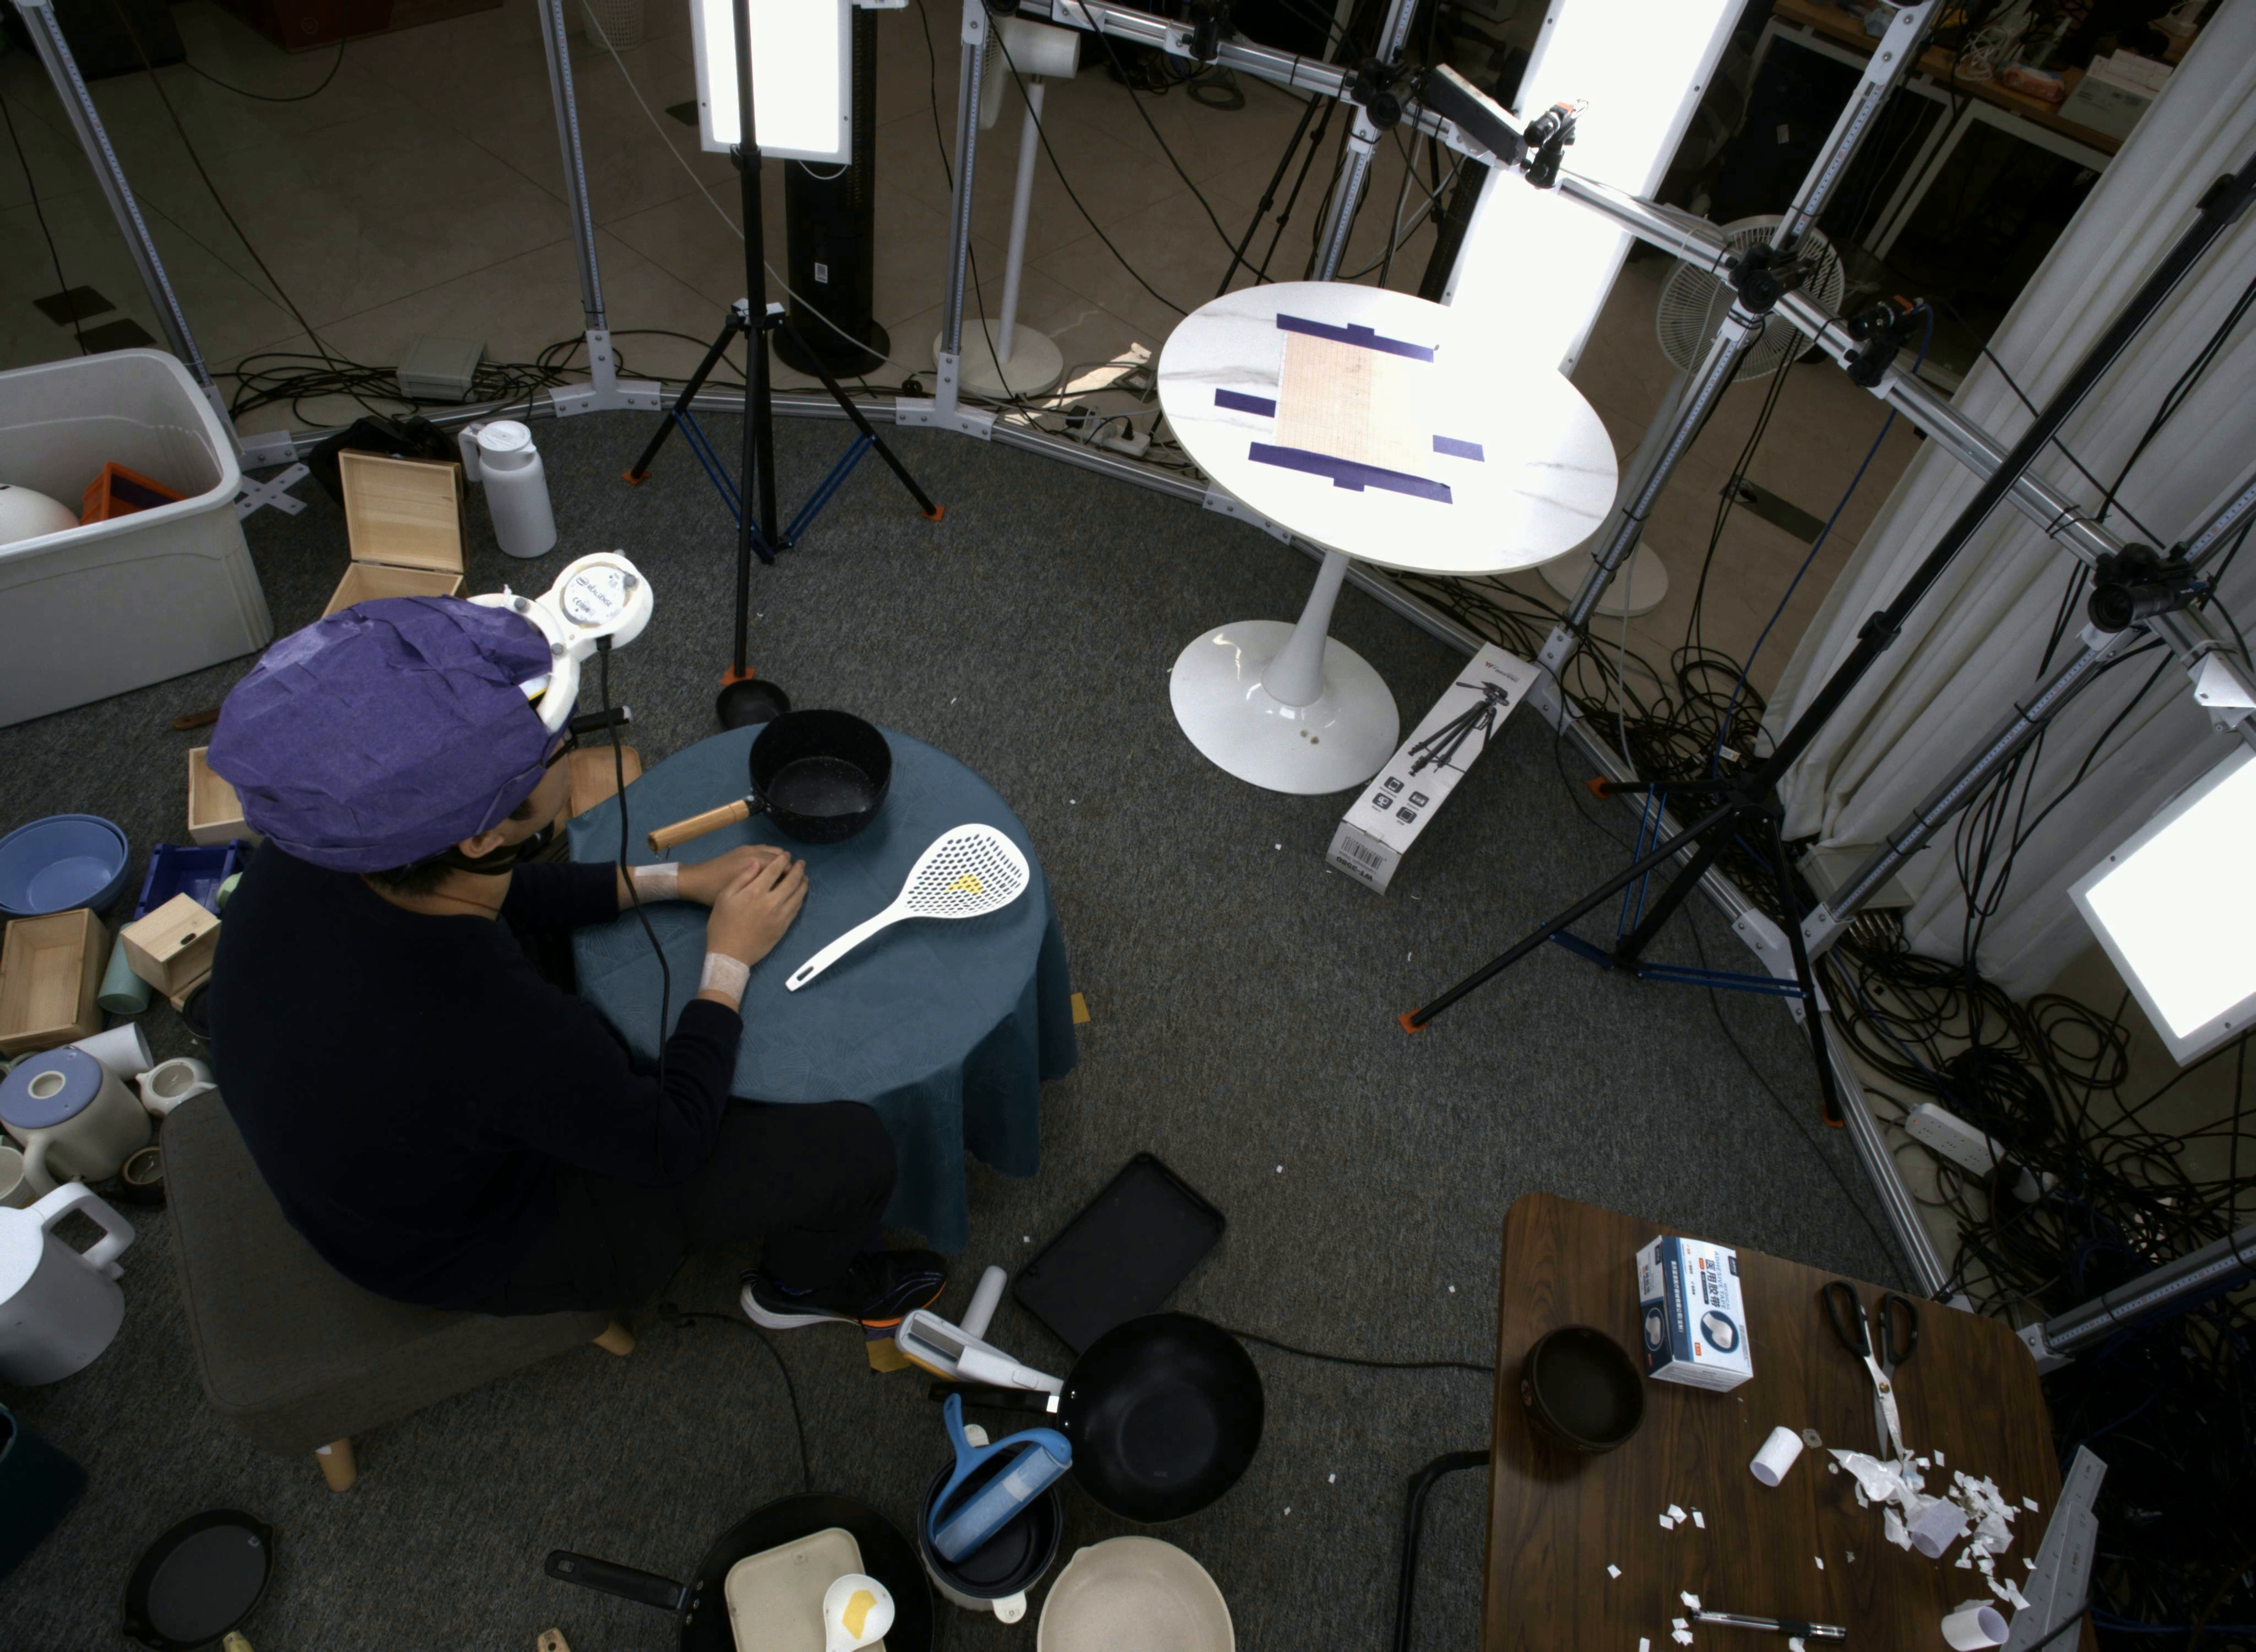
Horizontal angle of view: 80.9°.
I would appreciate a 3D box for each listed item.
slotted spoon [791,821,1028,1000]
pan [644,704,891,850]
[{"bbox_3d":[-0.280,0.109,1.643,0.349,0.051,0.134,-31,67,-33],"label":"slotted spoon"},{"bbox_3d":[-0.461,-0.031,1.657,0.203,0.110,0.344,43,54,17],"label":"pan"}]
